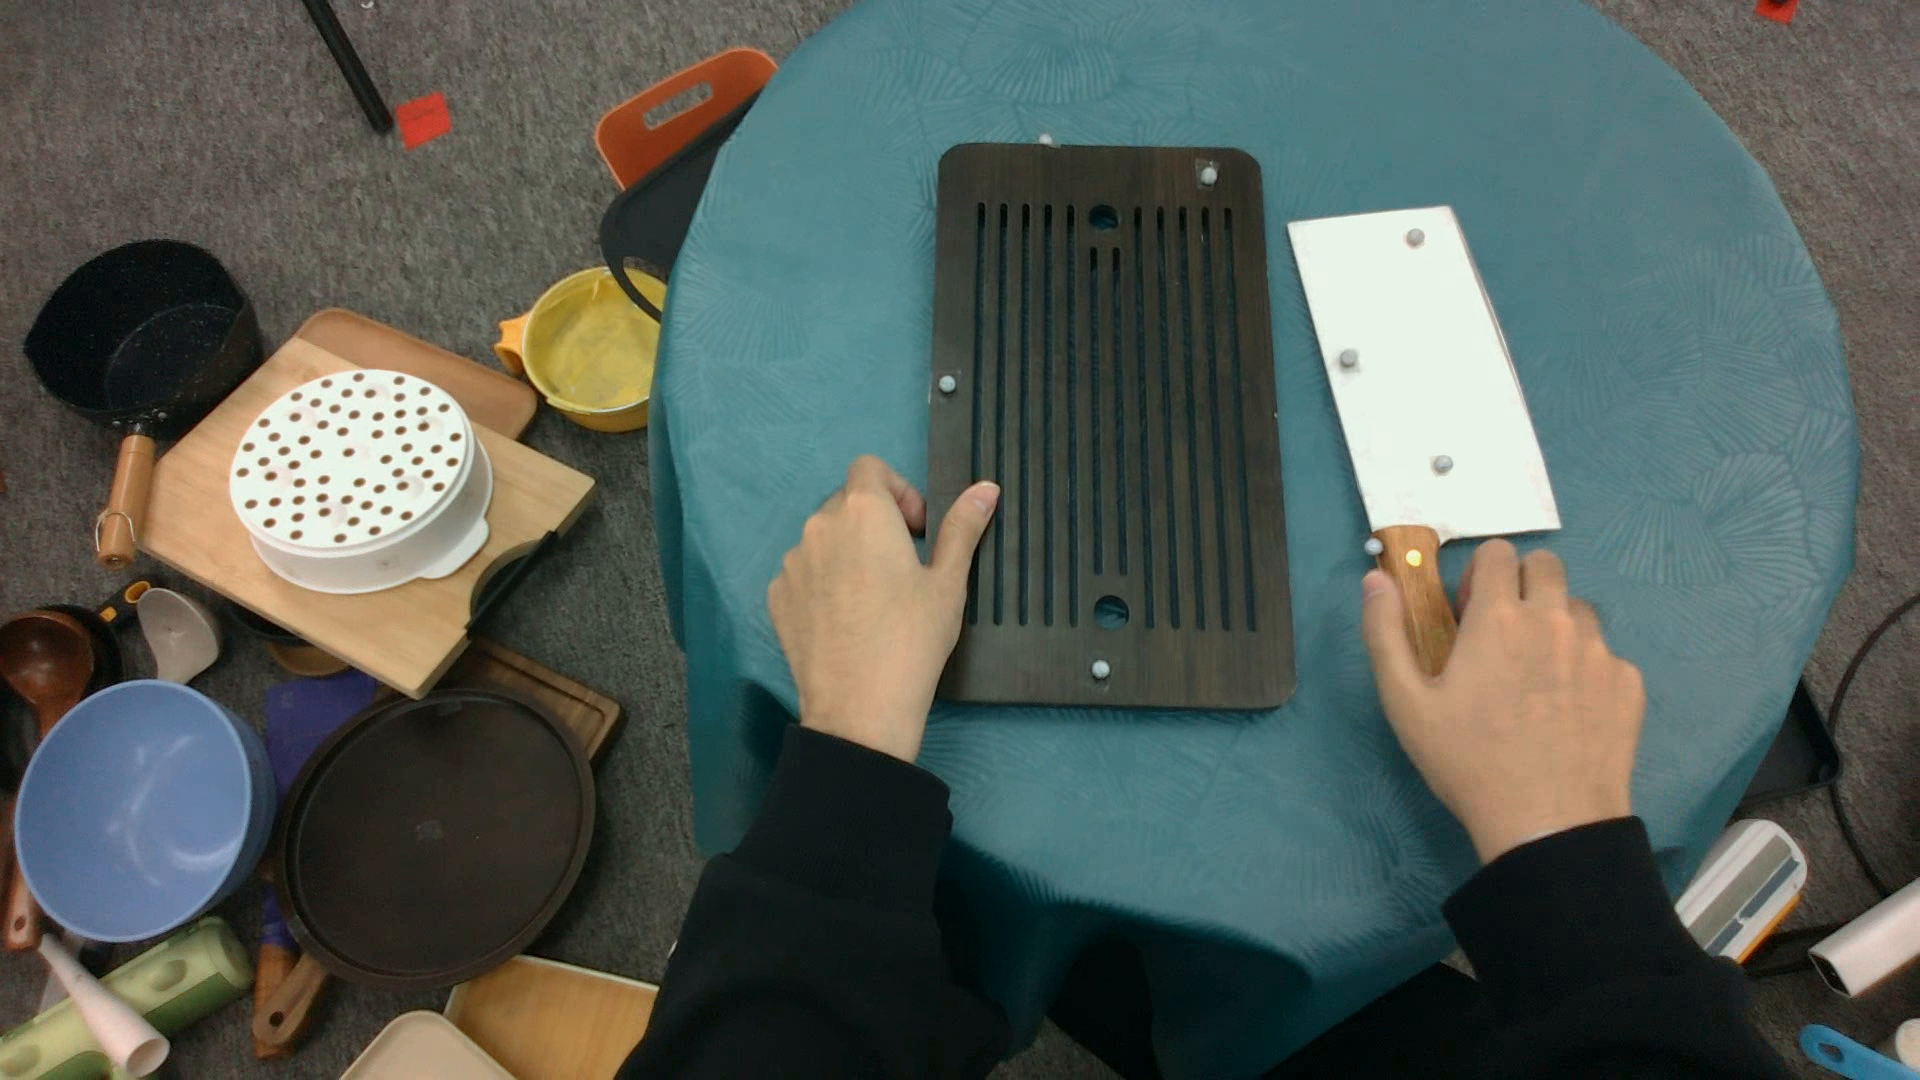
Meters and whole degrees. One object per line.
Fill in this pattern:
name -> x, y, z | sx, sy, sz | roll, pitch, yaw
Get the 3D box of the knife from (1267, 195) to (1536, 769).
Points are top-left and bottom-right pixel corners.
knife -> 0.225, -0.043, 0.667 | 0.093, 0.021, 0.306 | -7, 66, -5

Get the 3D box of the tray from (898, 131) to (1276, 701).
tray -> 0.059, -0.070, 0.673 | 0.170, 0.018, 0.307 | 1, 68, -1
